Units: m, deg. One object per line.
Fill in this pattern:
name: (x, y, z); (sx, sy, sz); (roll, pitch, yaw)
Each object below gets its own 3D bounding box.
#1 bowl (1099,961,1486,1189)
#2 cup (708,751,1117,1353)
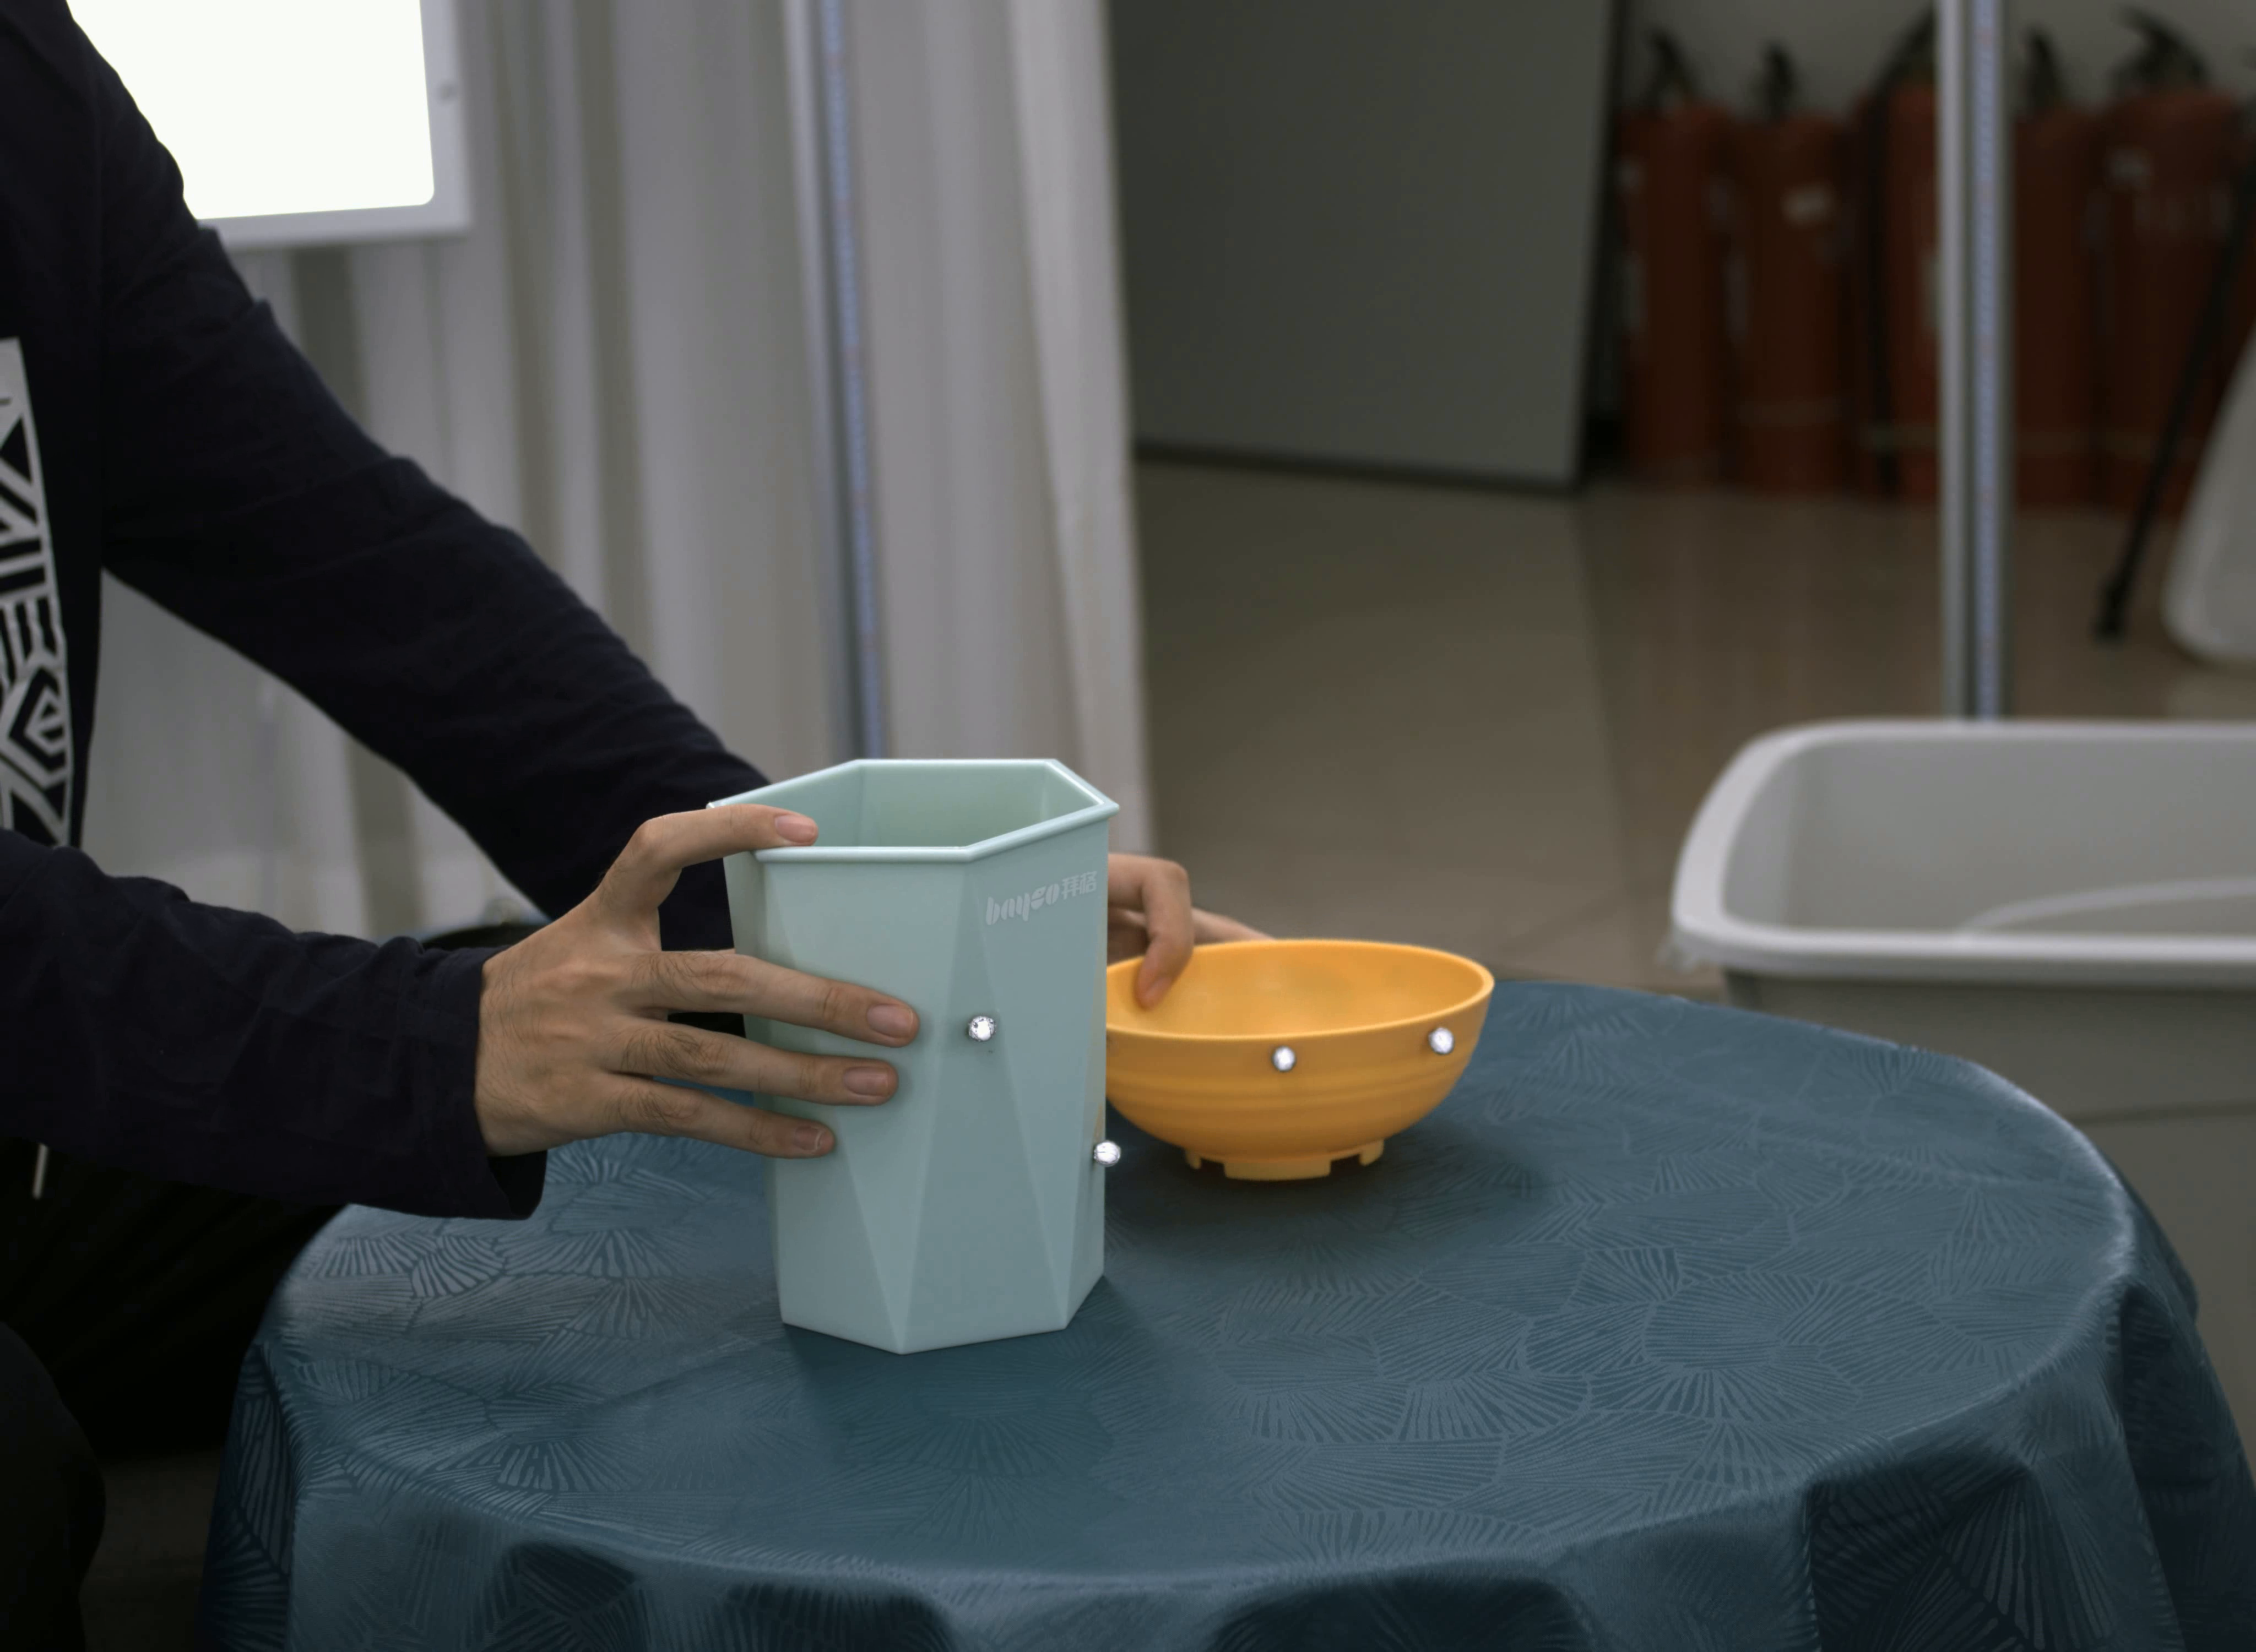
bowl: (0.049, 0.085, 1.789); (0.143, 0.061, 0.145); (-4, 8, 0)
cup: (-0.060, 0.069, 1.662); (0.116, 0.165, 0.128); (7, 16, 42)
